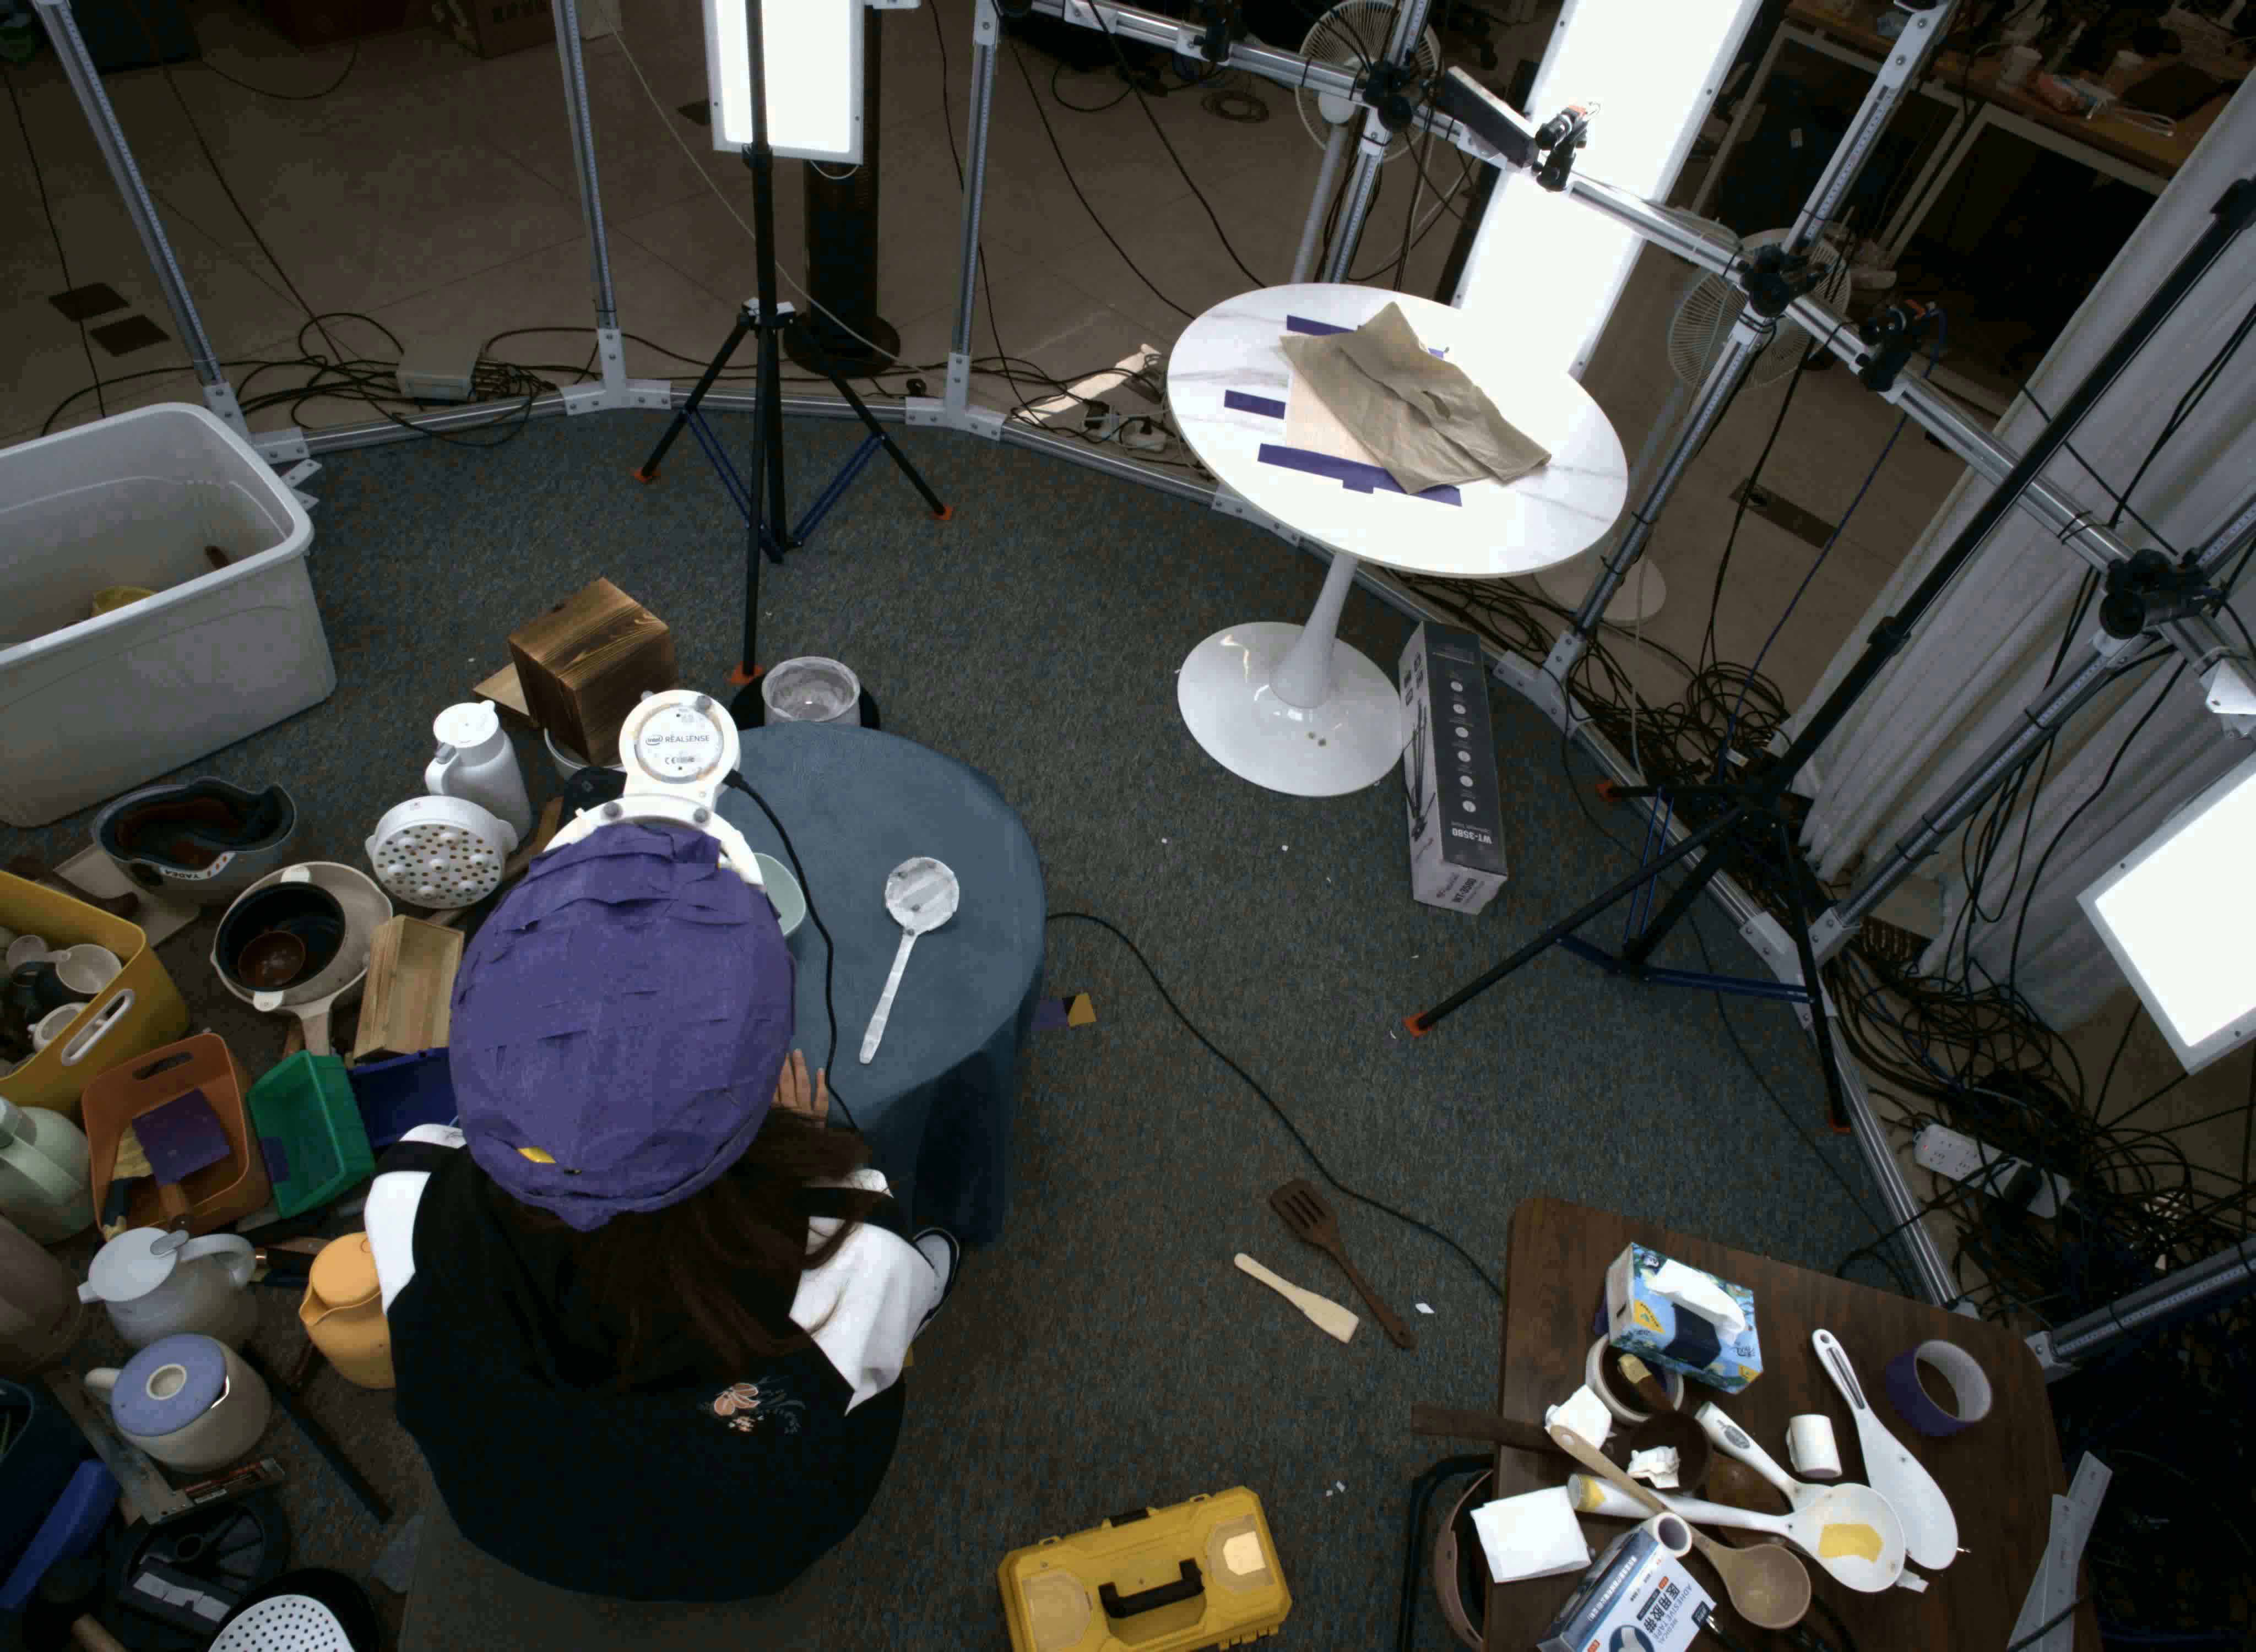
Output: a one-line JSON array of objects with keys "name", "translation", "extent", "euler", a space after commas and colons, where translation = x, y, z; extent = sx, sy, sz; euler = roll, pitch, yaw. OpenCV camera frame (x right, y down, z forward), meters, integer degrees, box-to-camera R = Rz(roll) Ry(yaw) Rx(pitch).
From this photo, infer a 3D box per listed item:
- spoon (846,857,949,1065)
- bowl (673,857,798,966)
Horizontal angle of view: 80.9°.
[{"name": "spoon", "translation": [-0.299, 0.158, 1.596], "extent": [0.099, 0.061, 0.274], "euler": [14, 51, 3]}, {"name": "bowl", "translation": [-0.480, 0.113, 1.586], "extent": [0.151, 0.060, 0.149], "euler": [8, 52, -8]}]
